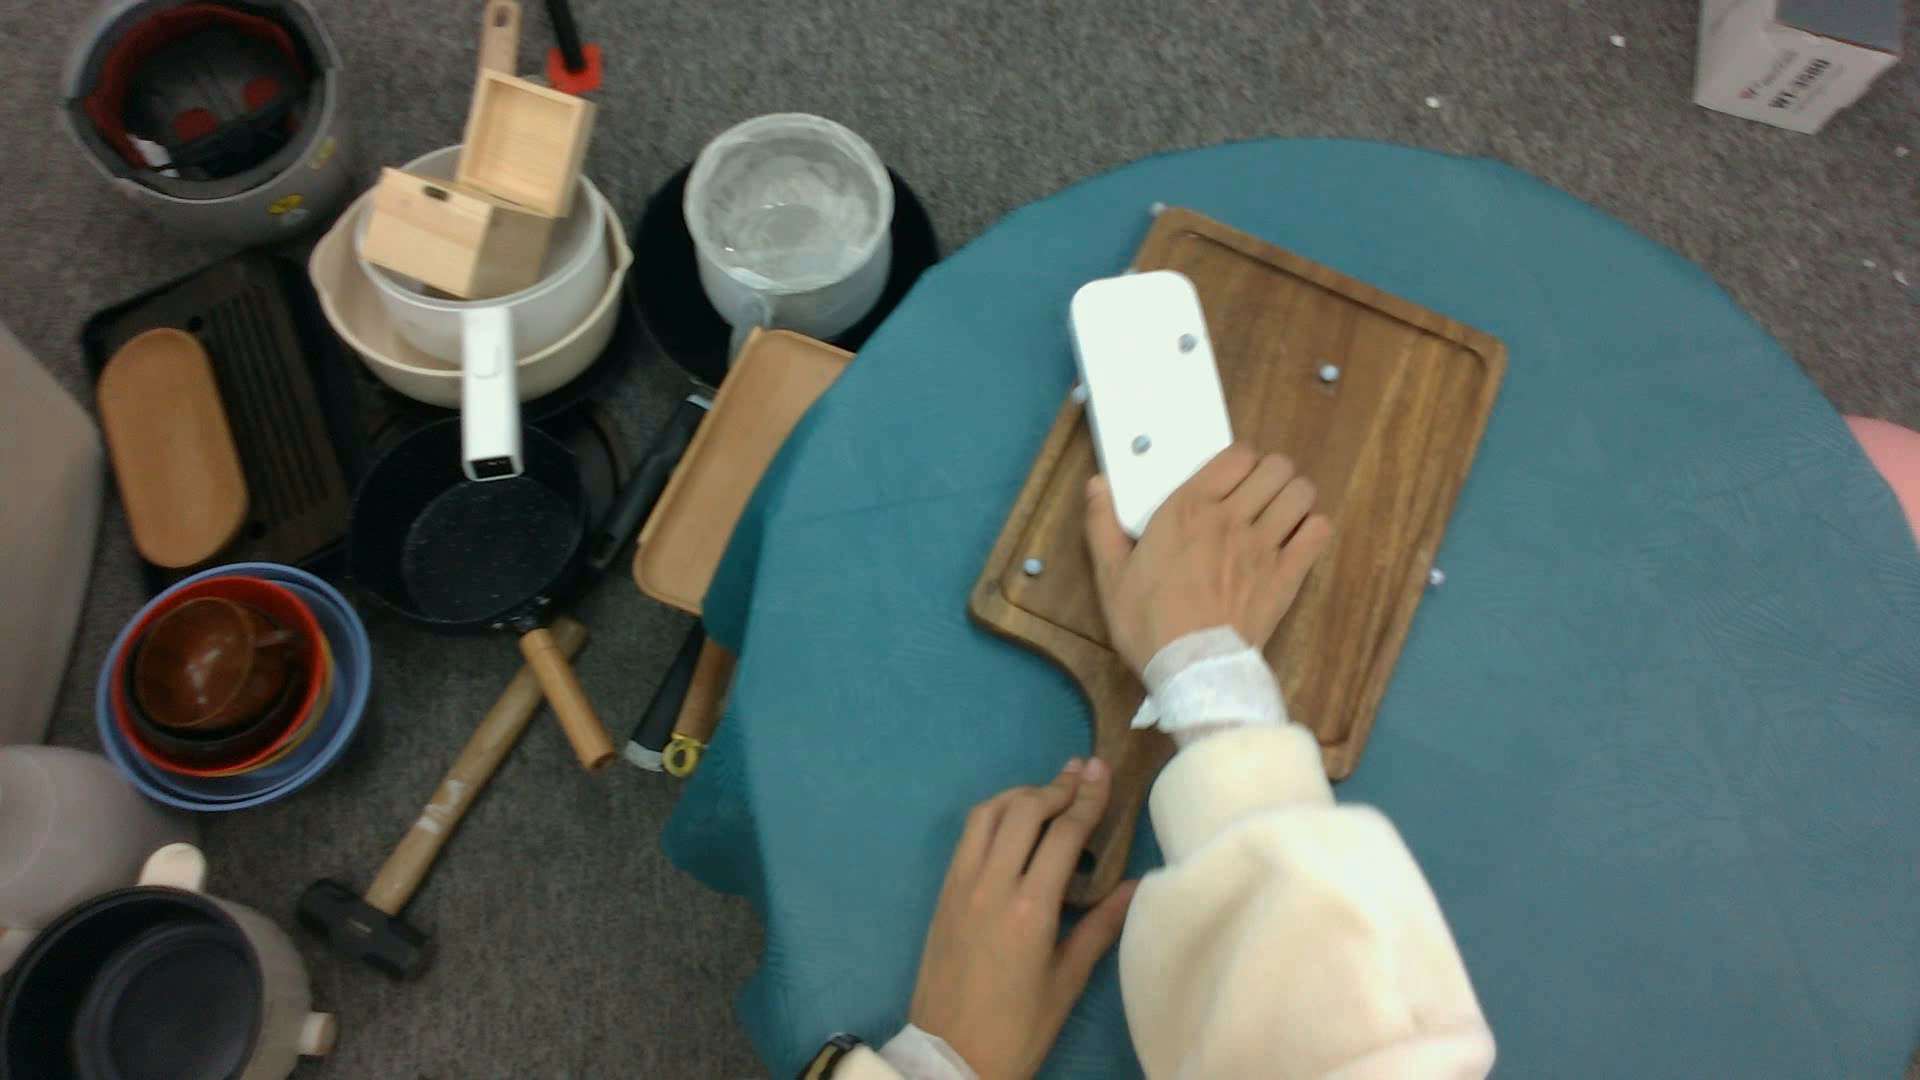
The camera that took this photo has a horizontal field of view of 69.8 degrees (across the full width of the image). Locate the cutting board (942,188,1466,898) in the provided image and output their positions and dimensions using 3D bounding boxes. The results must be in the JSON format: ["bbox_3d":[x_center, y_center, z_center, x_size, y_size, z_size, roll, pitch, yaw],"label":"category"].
[{"bbox_3d":[0.108,0.002,0.663,0.201,0.023,0.353,23,70,3],"label":"cutting board"}]

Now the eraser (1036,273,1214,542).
[{"bbox_3d":[0.076,-0.064,0.660,0.063,0.034,0.131,-10,74,-10],"label":"eraser"}]
